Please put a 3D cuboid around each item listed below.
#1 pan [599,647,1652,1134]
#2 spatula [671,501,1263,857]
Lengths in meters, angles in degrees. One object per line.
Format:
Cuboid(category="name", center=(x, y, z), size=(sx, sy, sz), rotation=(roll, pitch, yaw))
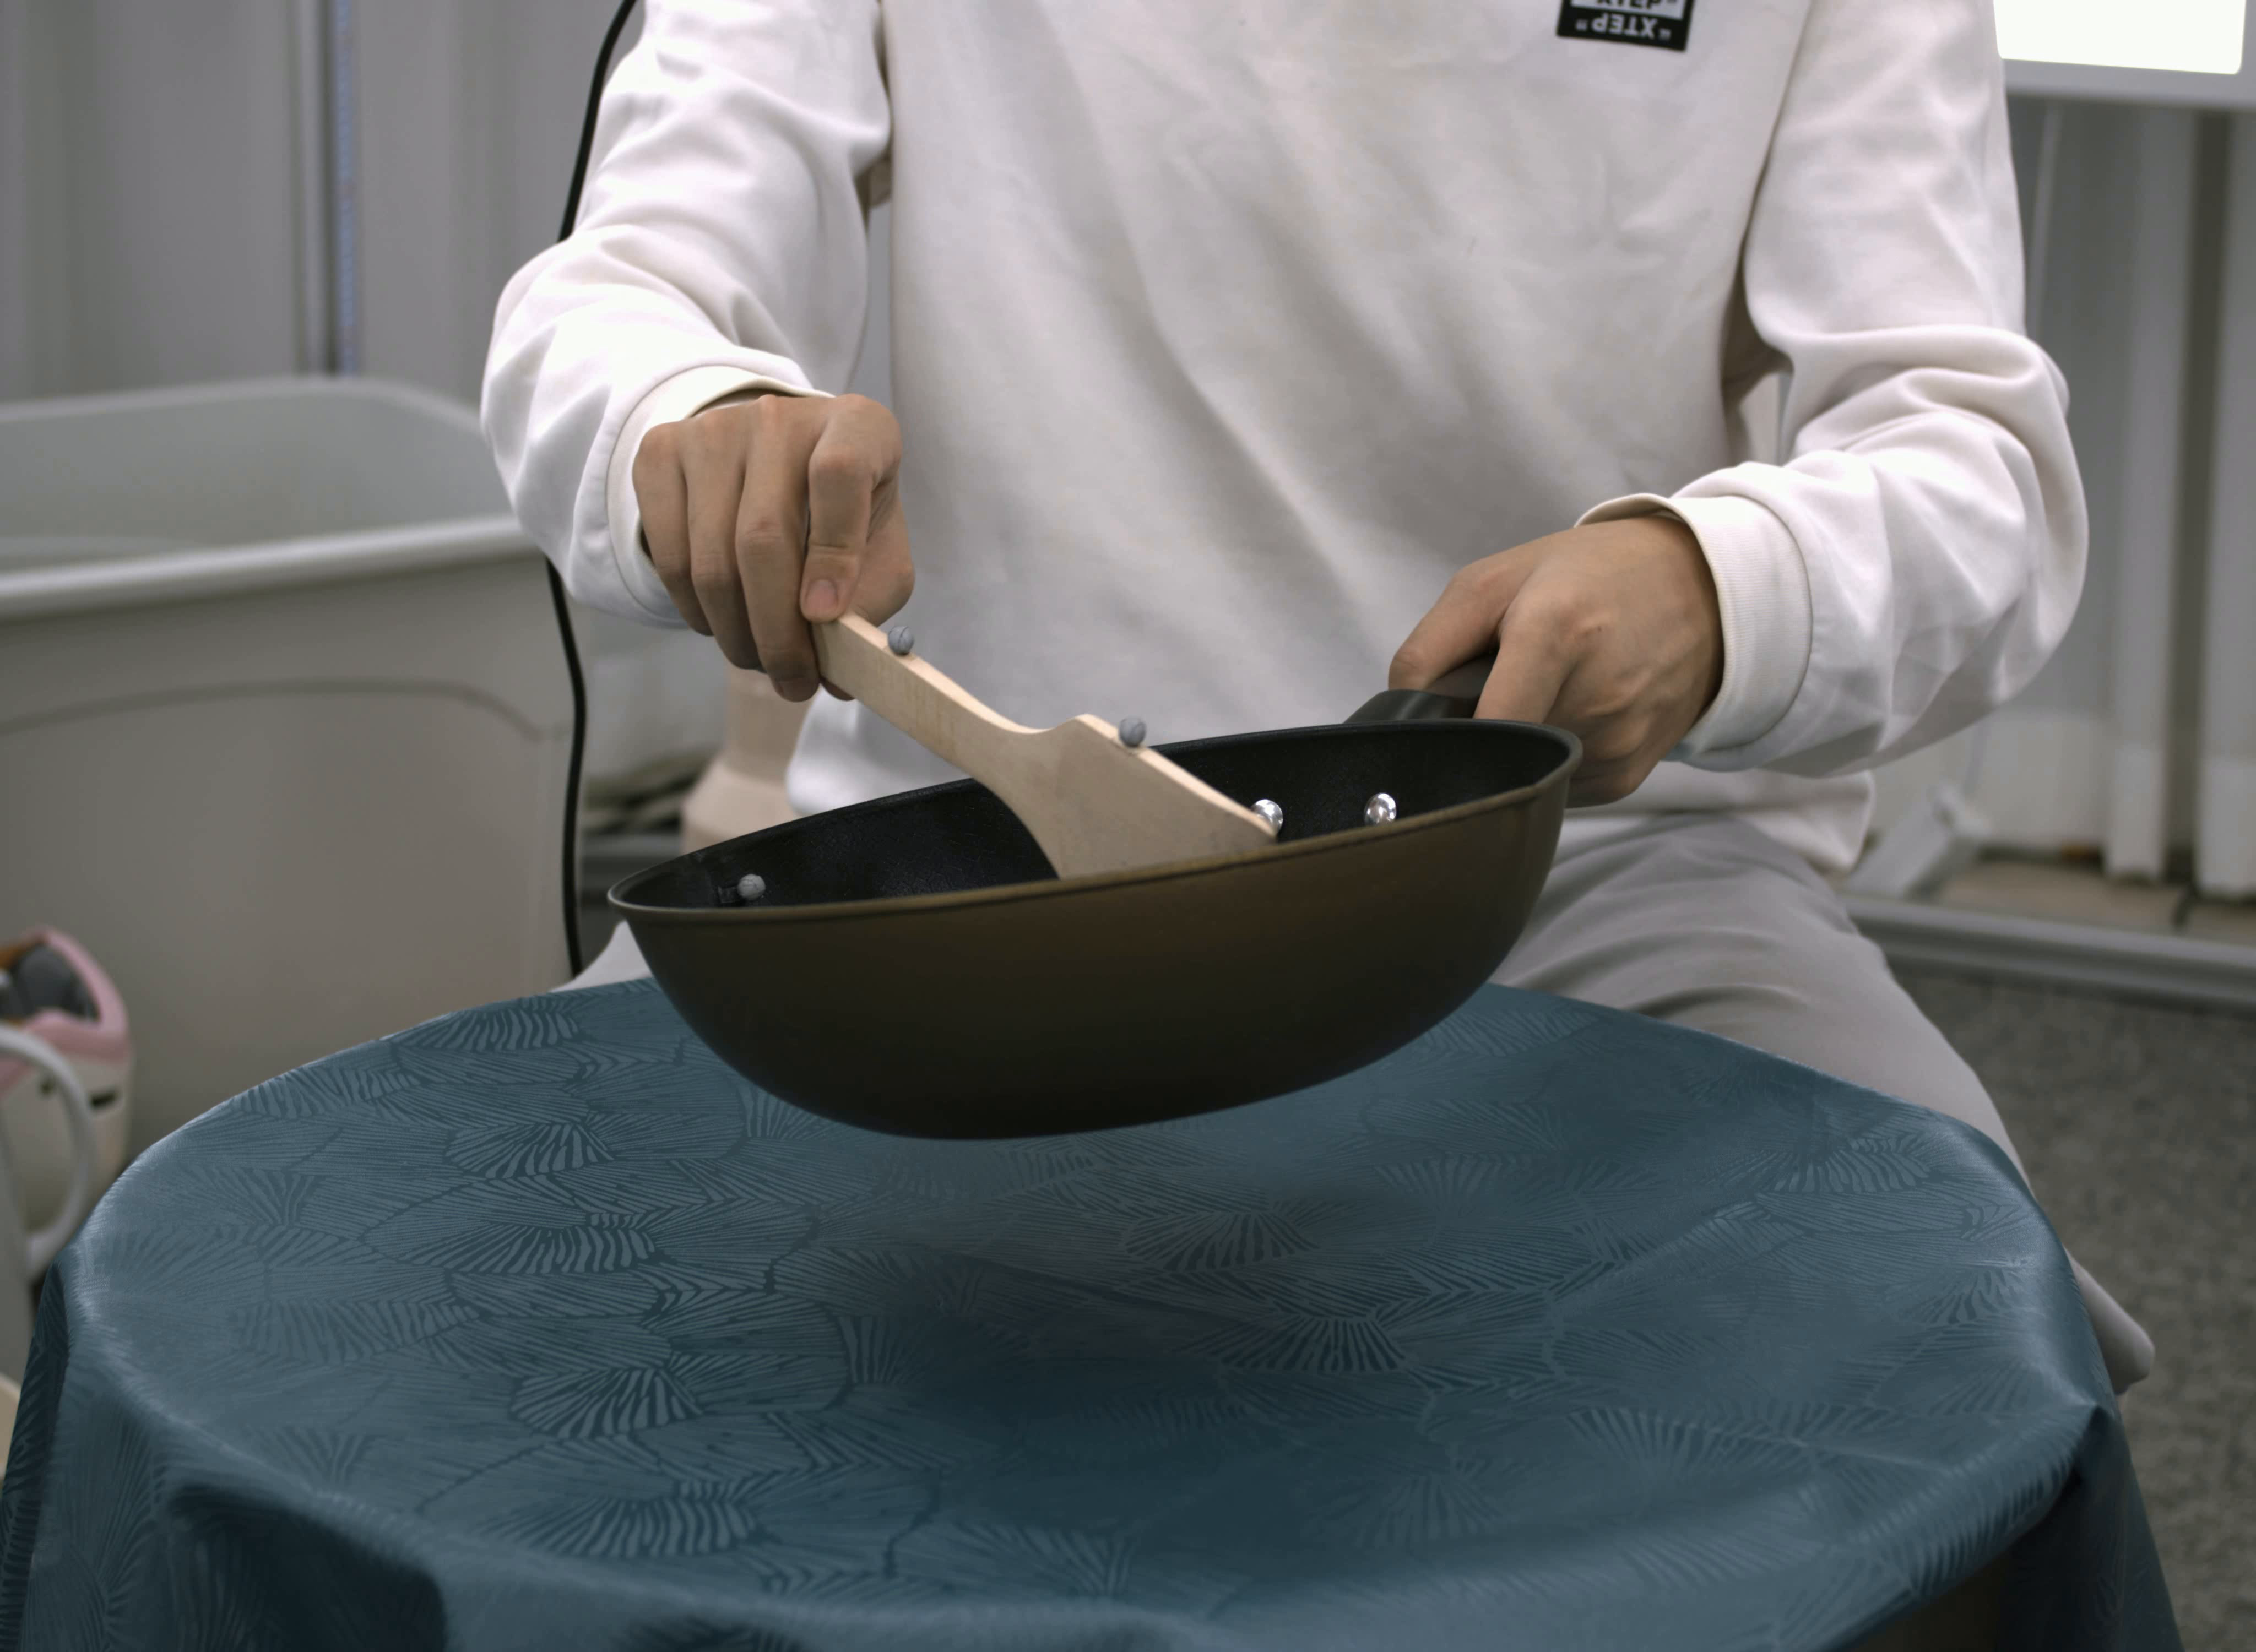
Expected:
Cuboid(category="pan", center=(0.042, 0.016, 1.581), size=(0.285, 0.087, 0.465), rotation=(-4, 7, 32))
Cuboid(category="spatula", center=(-0.054, -0.033, 1.587), size=(0.011, 0.073, 0.289), rotation=(-25, 41, -31))
